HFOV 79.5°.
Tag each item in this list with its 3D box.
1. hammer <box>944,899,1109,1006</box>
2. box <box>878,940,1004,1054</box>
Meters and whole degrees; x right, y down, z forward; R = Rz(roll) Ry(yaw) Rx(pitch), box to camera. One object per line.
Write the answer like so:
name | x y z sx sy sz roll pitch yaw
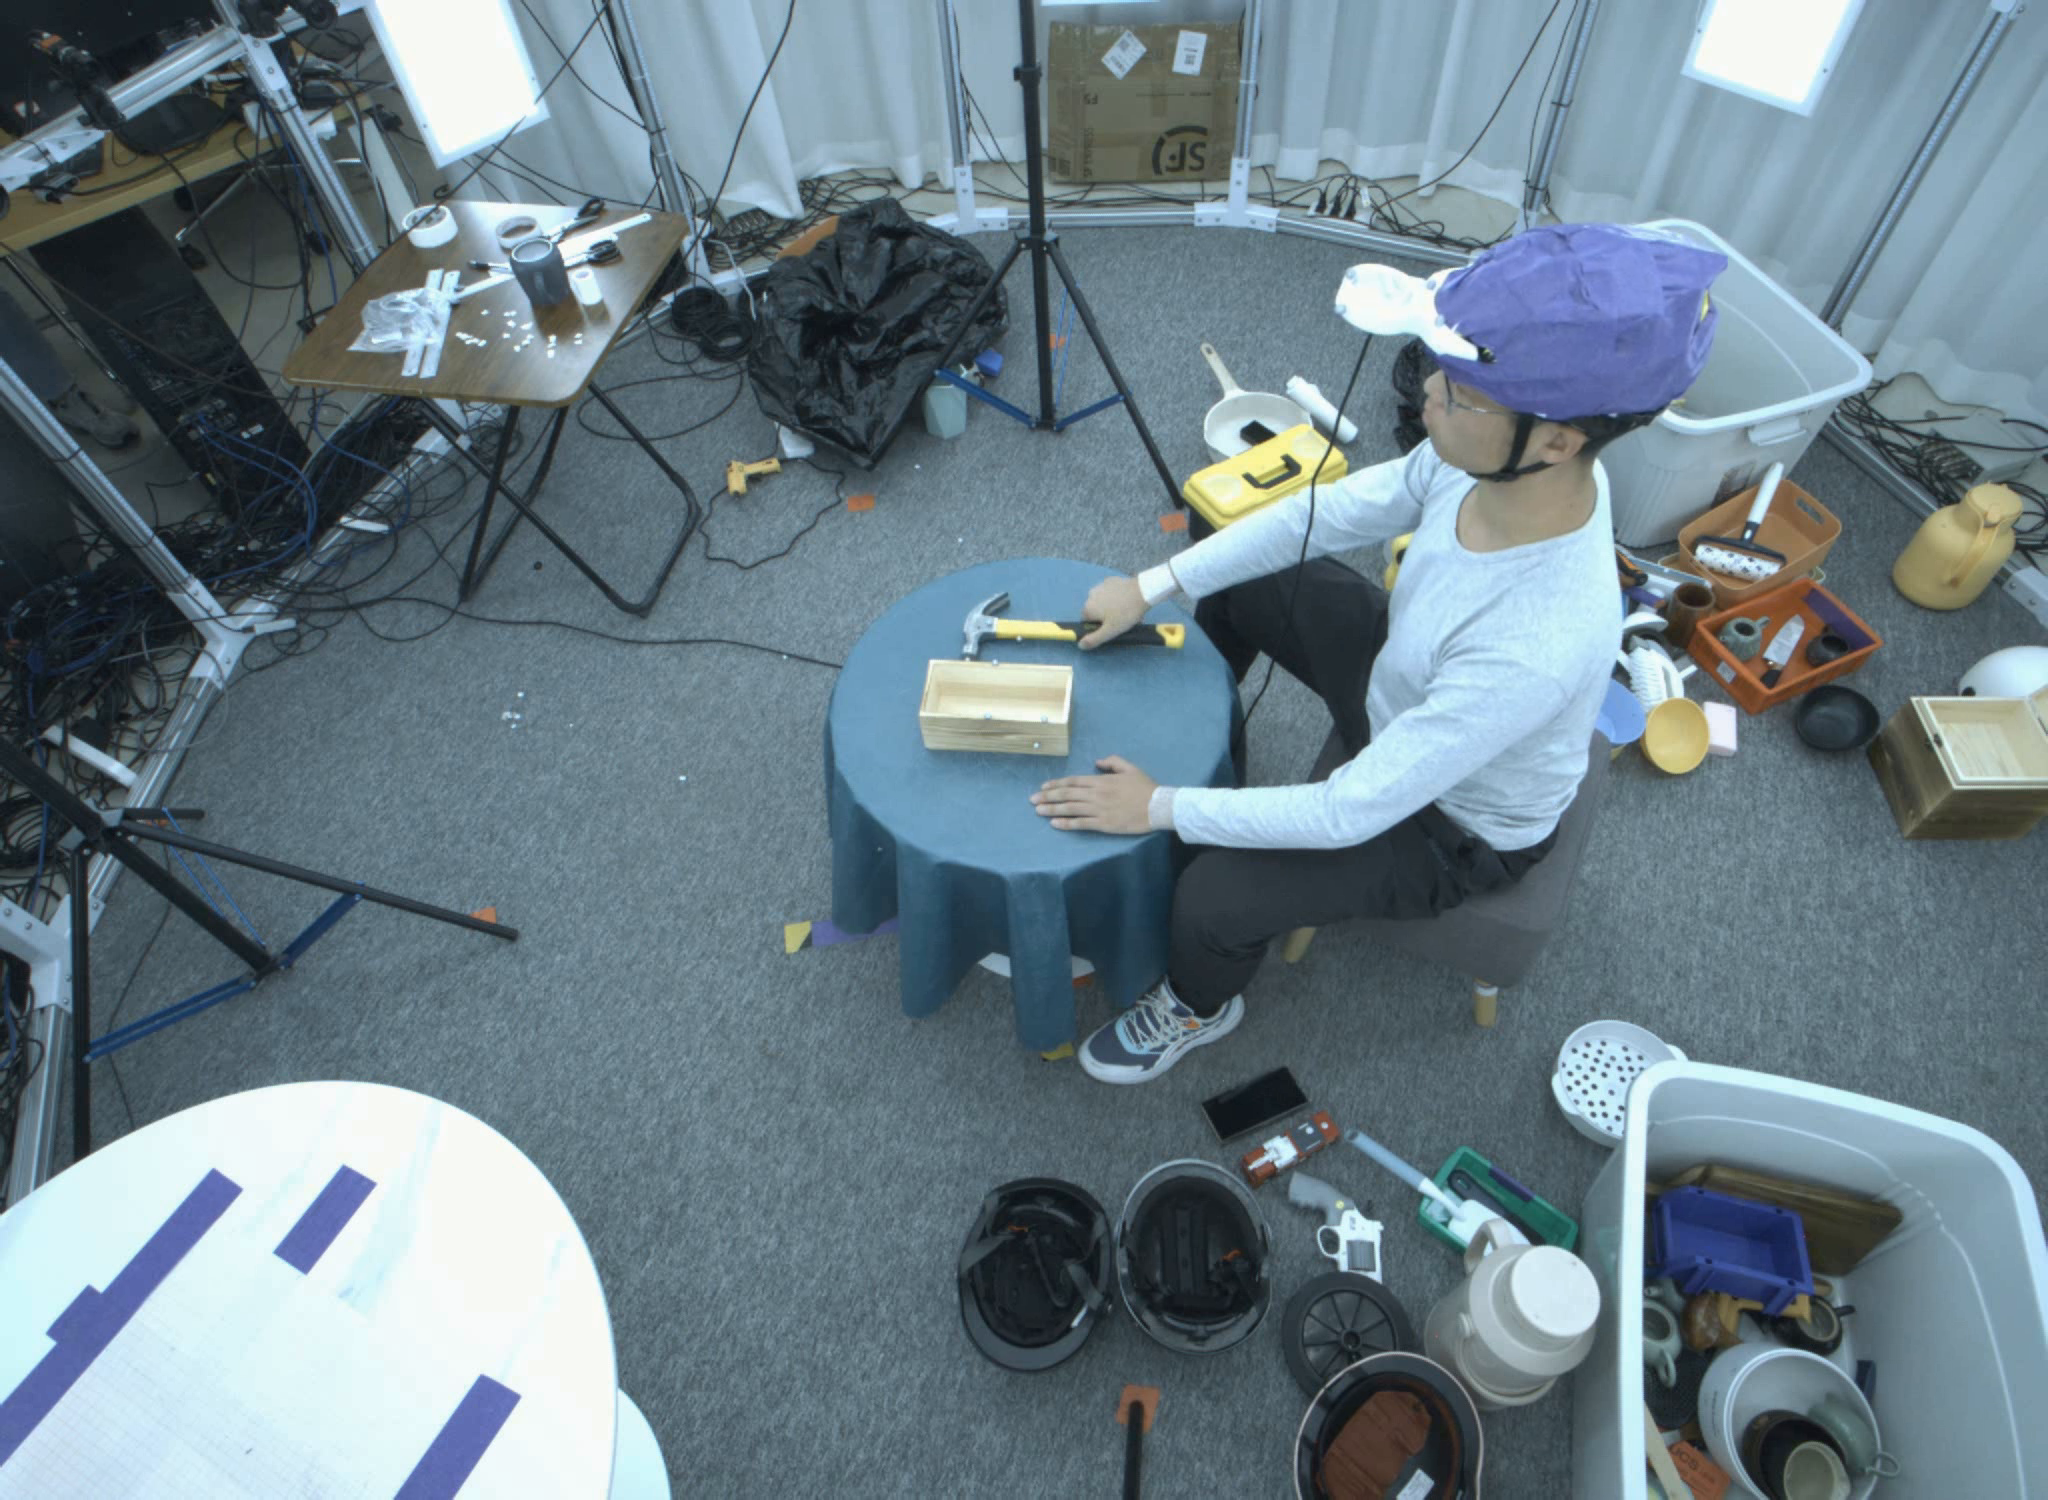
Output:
hammer | 0.016 0.395 2.374 0.333 0.032 0.132 28 58 22
box | -0.156 0.463 2.308 0.208 0.081 0.108 26 59 19
